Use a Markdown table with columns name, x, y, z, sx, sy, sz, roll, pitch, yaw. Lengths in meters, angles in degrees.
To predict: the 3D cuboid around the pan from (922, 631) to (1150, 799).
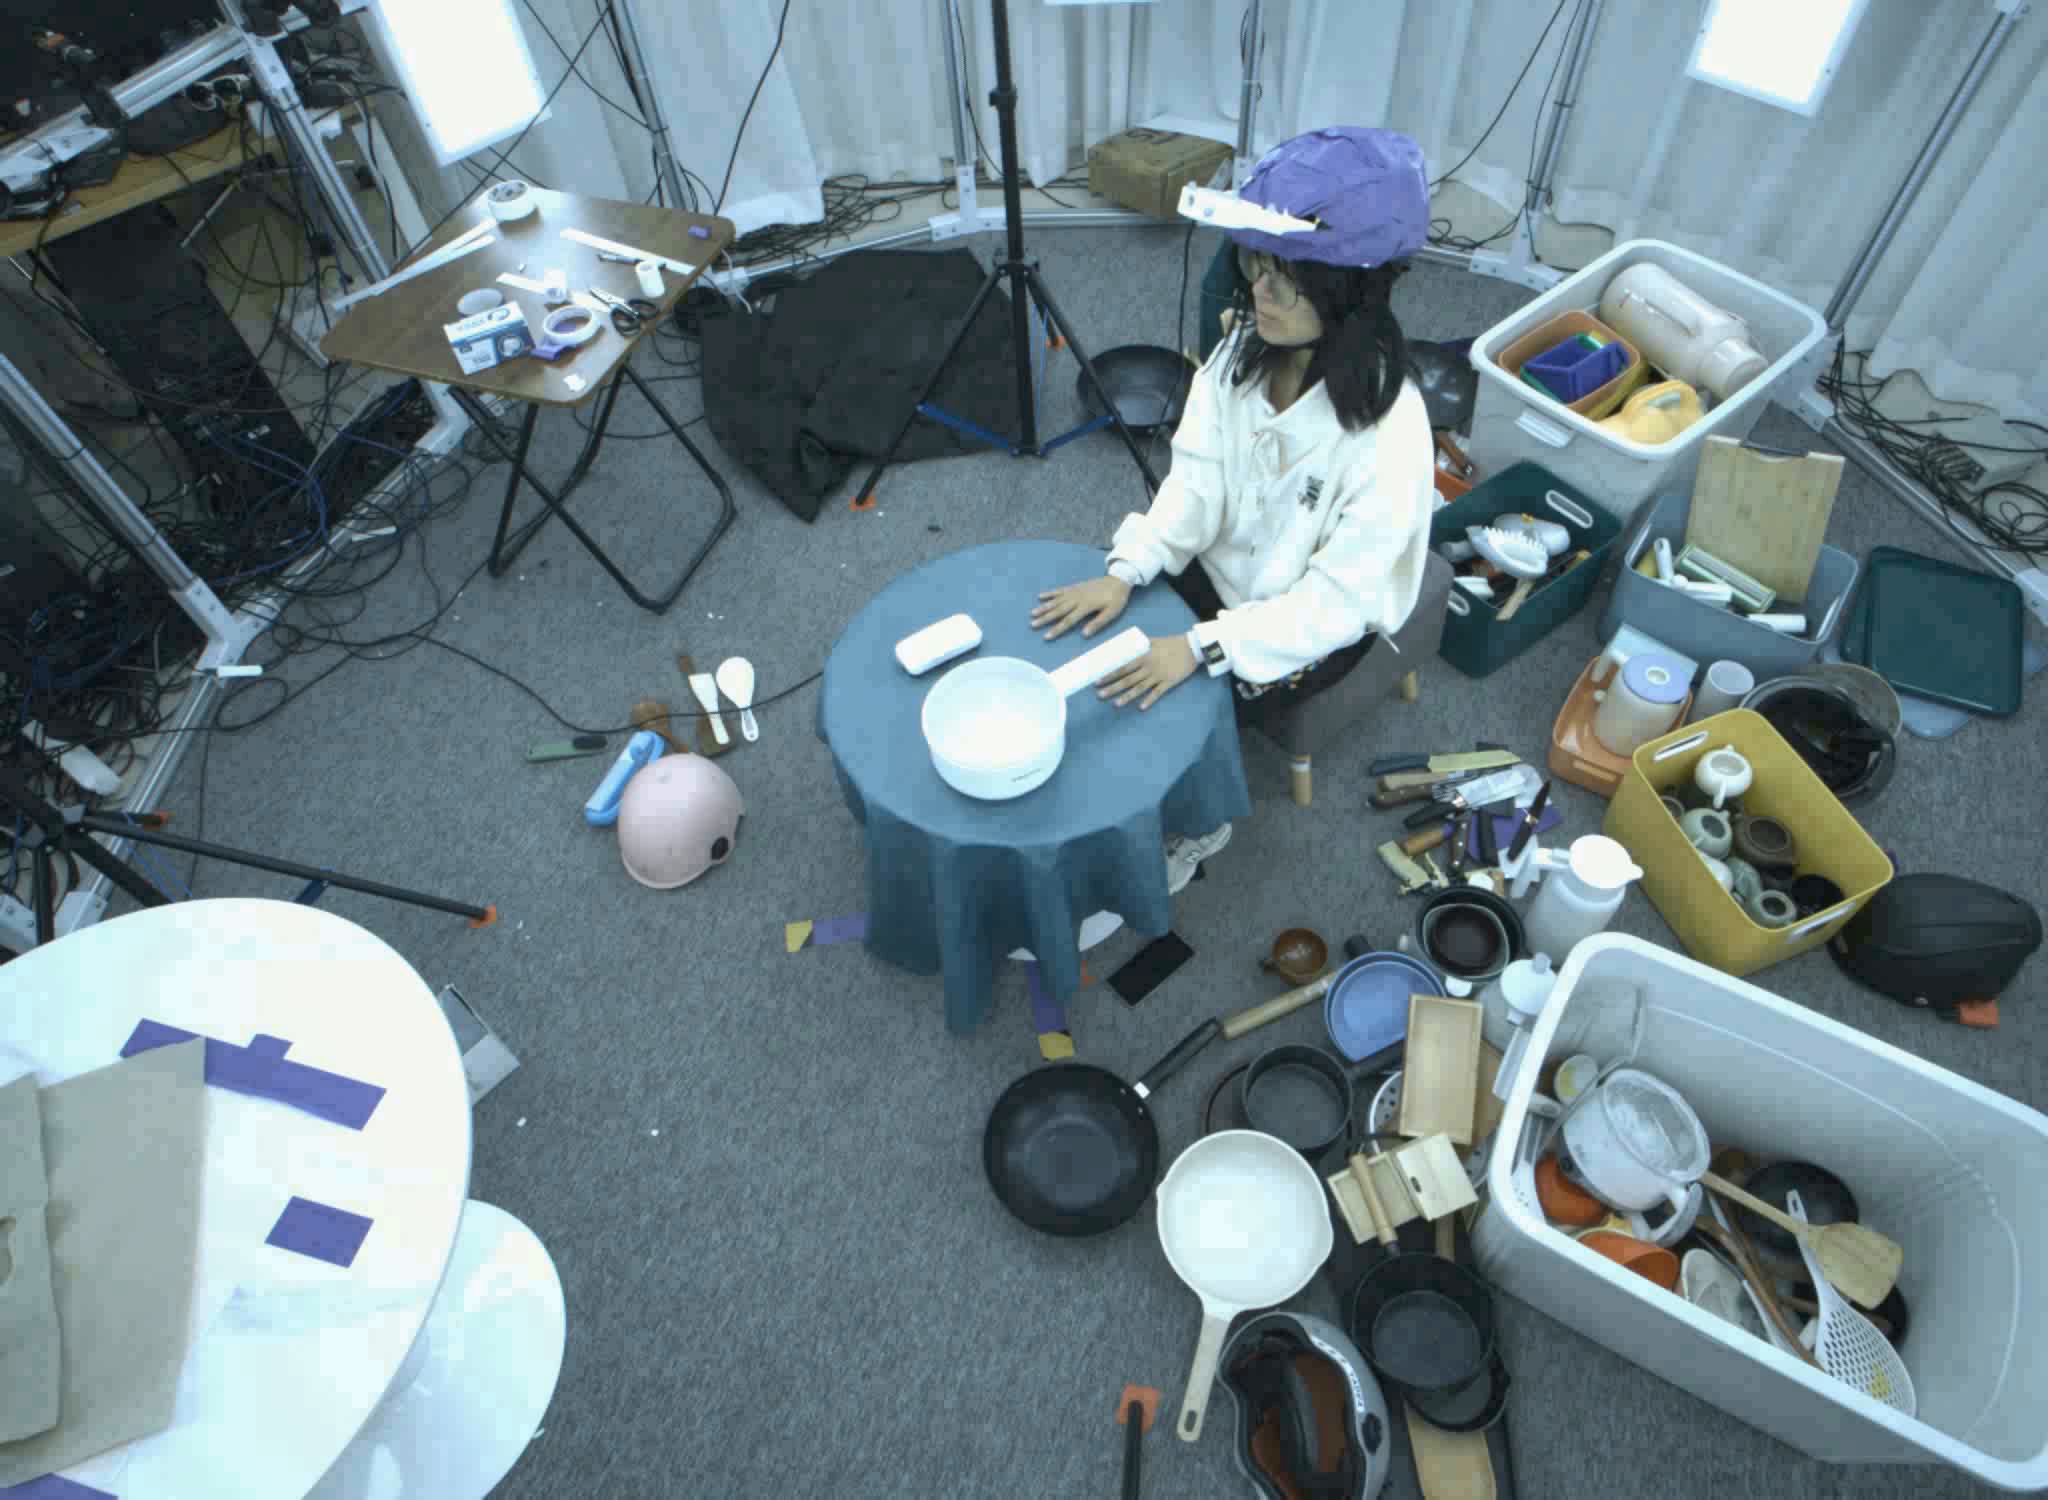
| name | x | y | z | sx | sy | sz | roll | pitch | yaw |
| --- | --- | --- | --- | --- | --- | --- | --- | --- | --- |
| pan | 0.024 | -0.061 | 1.770 | 0.358 | 0.103 | 0.197 | -28 | 60 | -19 |

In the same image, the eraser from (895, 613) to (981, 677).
| name | x | y | z | sx | sy | sz | roll | pitch | yaw |
| --- | --- | --- | --- | --- | --- | --- | --- | --- | --- |
| eraser | -0.131 | -0.162 | 1.888 | 0.132 | 0.035 | 0.062 | -28 | 61 | -16 |
